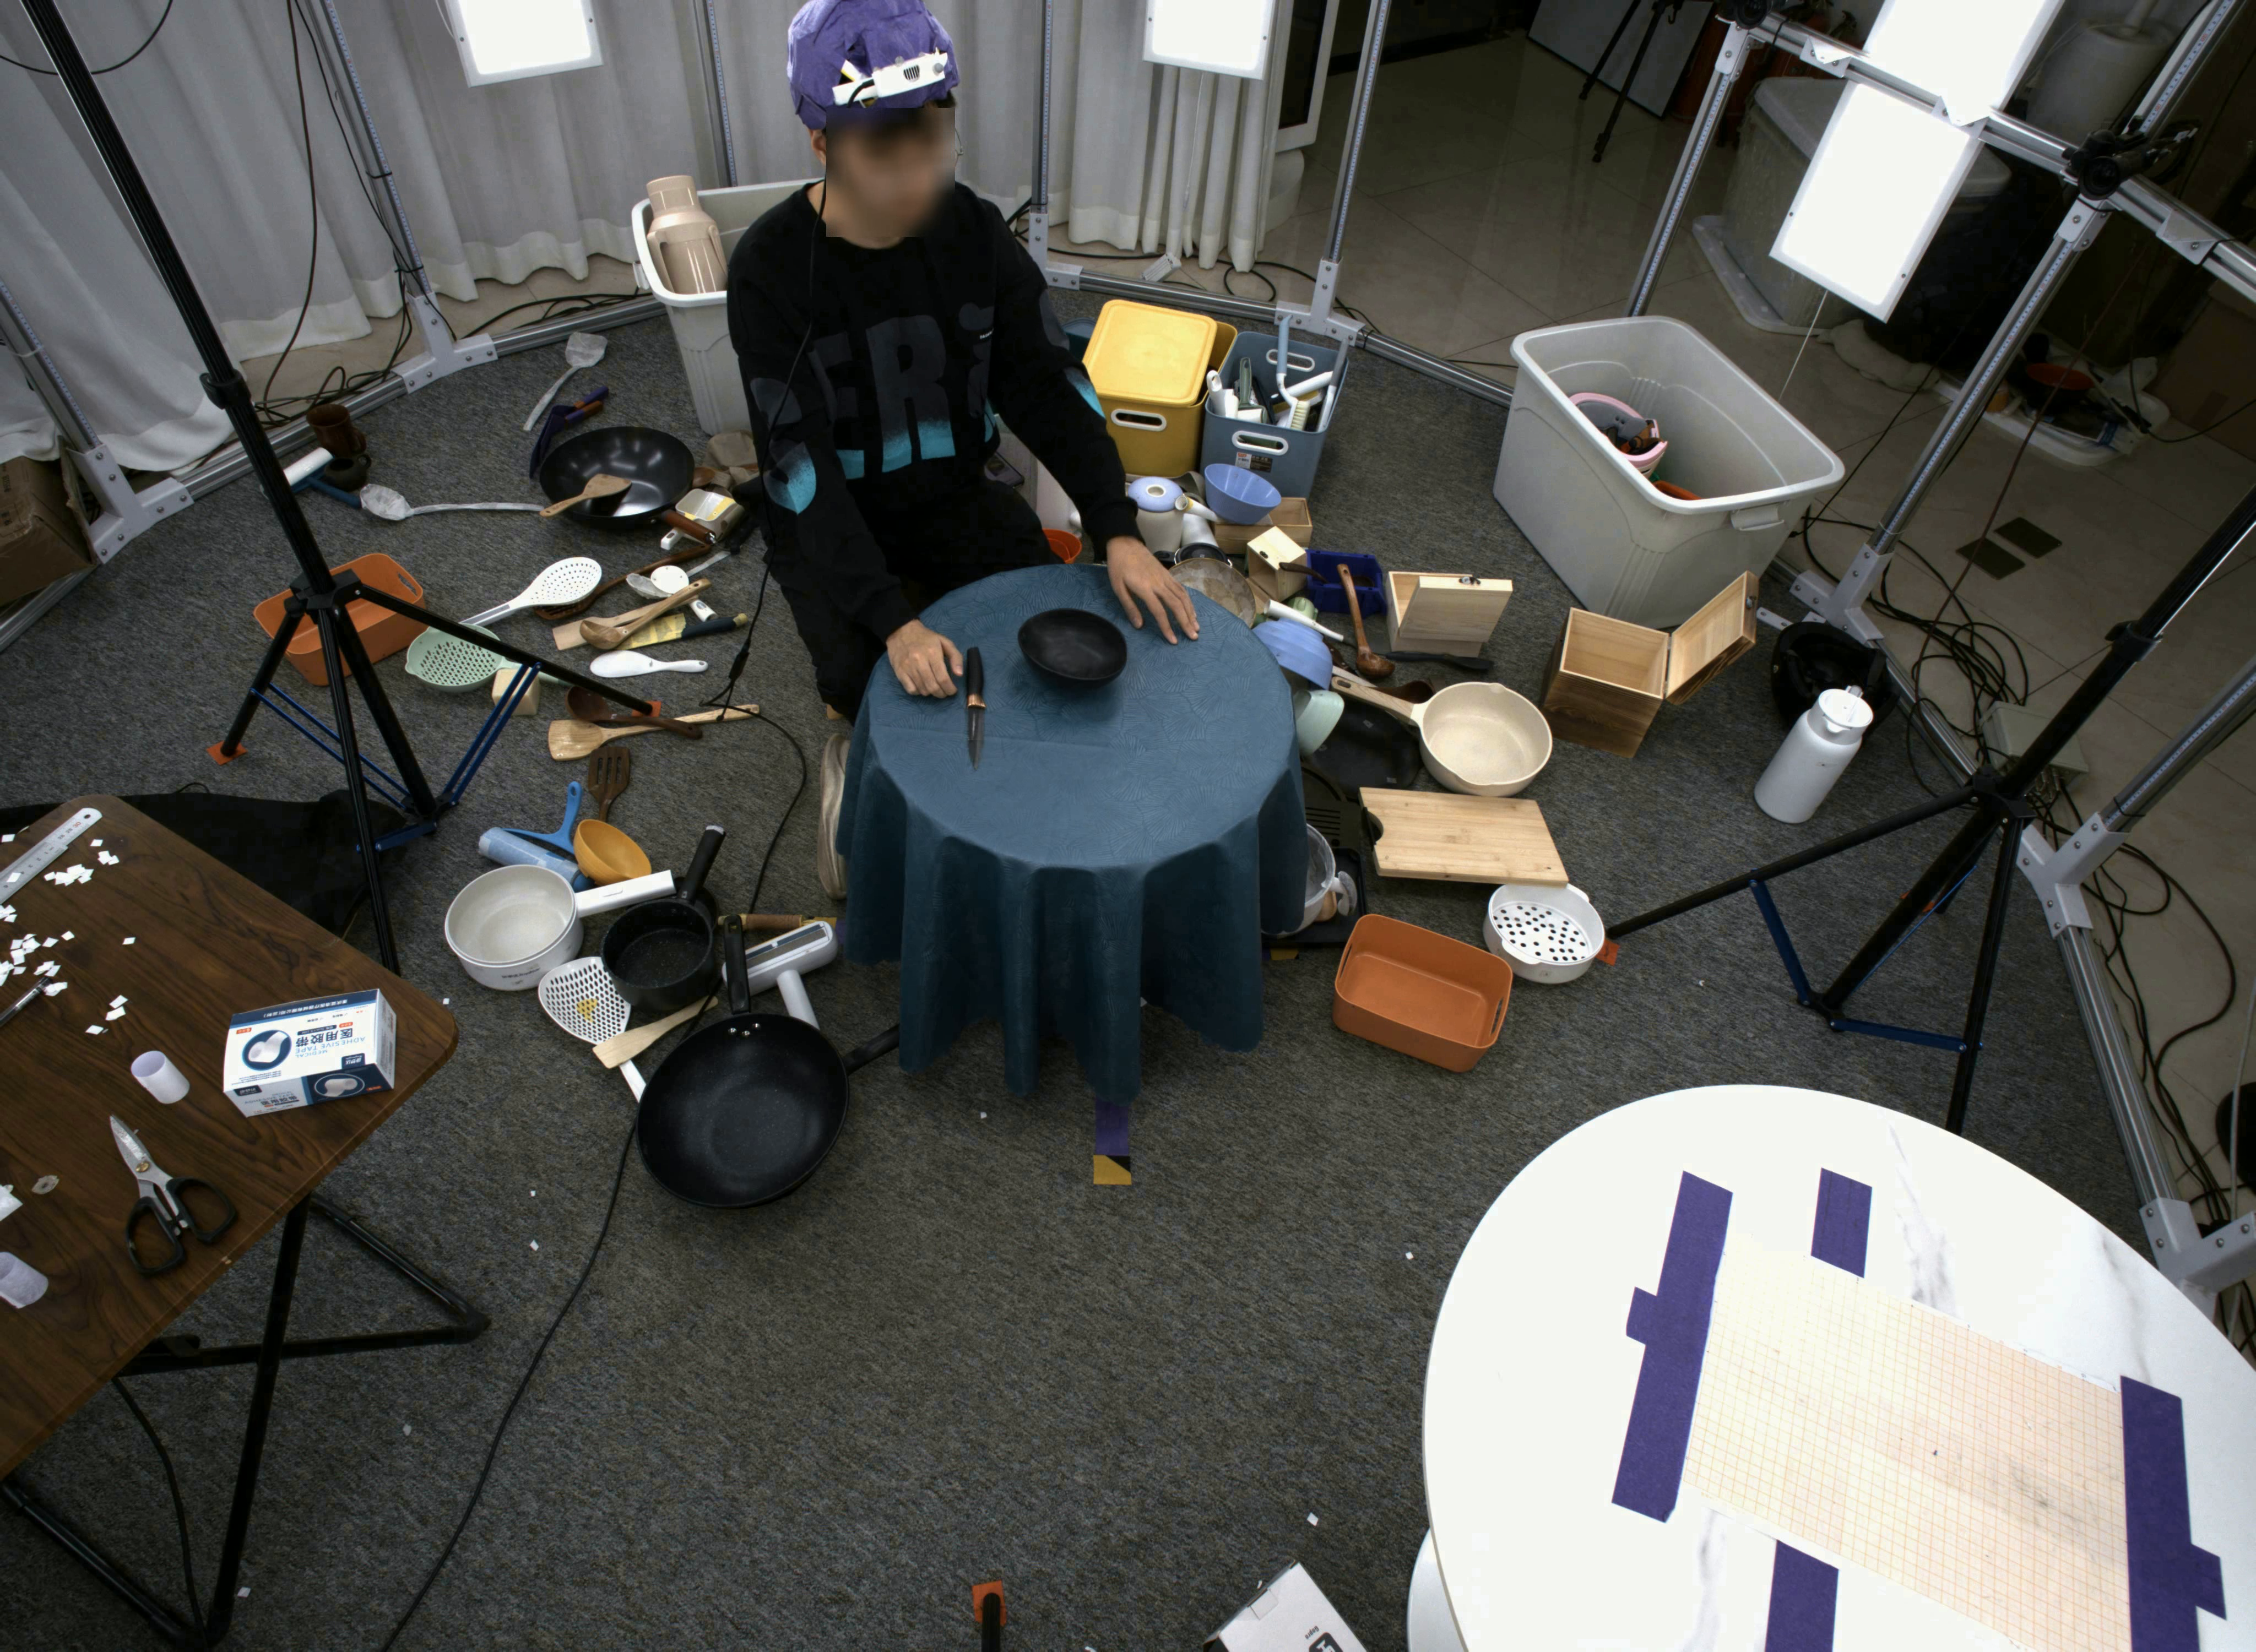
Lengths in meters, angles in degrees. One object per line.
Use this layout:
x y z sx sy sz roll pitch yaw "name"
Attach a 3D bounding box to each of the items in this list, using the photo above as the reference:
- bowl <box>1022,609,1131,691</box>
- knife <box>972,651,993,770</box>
-0.075 -0.240 1.831 0.172 0.065 0.139 31 54 24 "bowl"
-0.203 -0.164 1.789 0.026 0.017 0.231 -5 50 -2 "knife"
